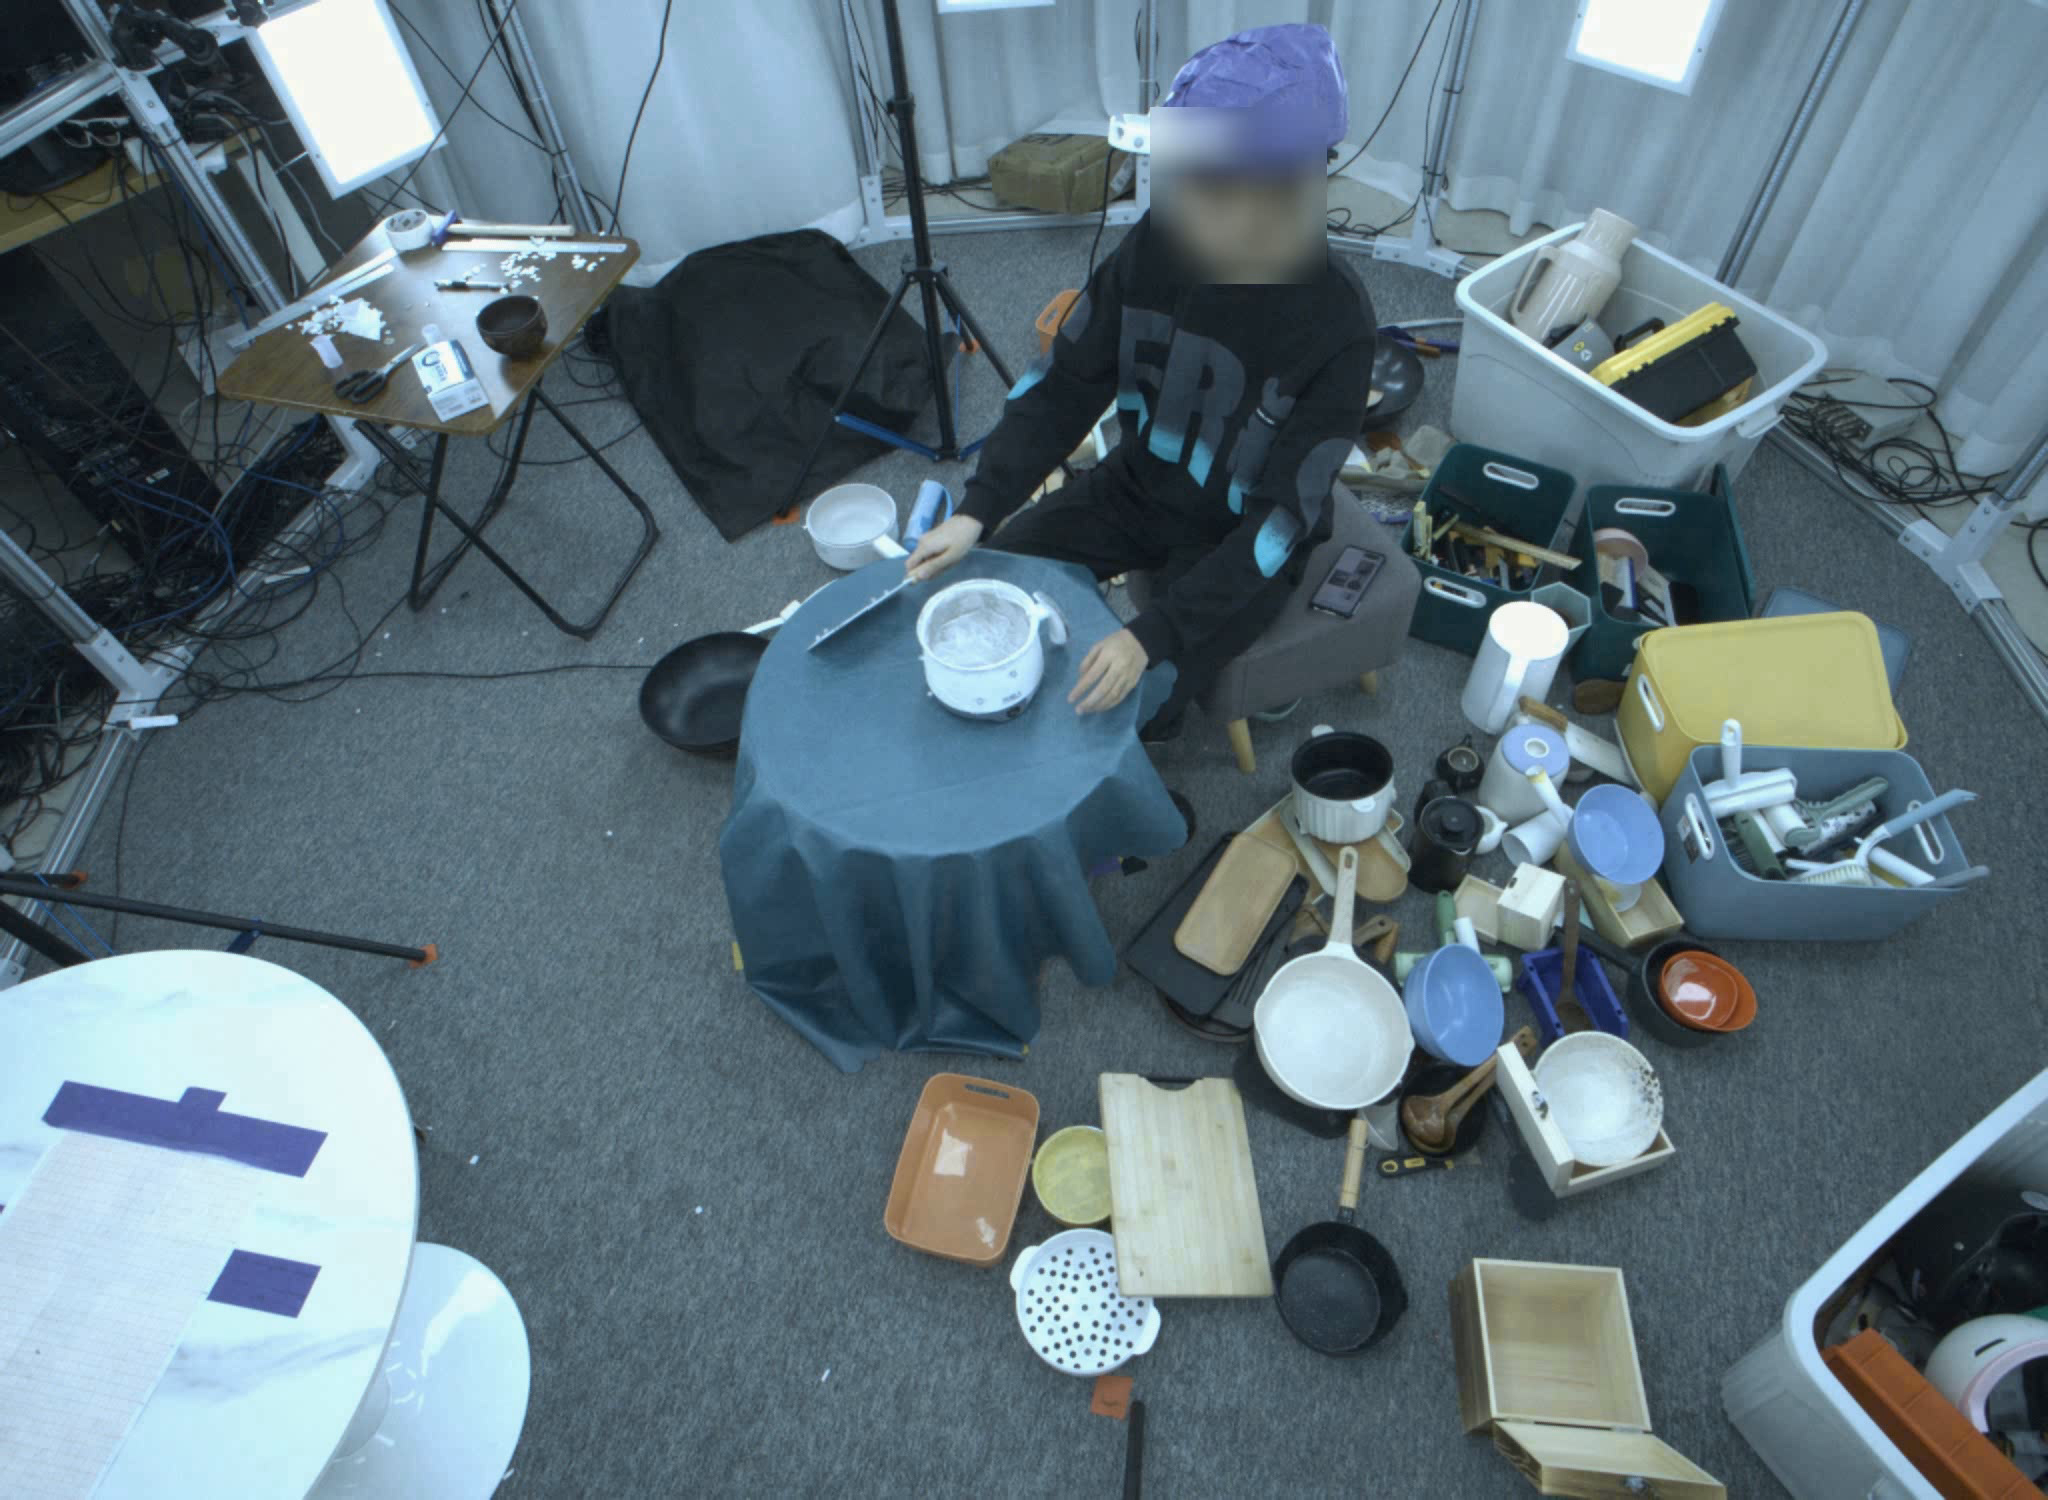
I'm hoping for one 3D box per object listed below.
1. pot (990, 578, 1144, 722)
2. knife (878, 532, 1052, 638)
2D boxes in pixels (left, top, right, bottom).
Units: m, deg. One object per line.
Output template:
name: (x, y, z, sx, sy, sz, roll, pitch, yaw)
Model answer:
pot: (0.068, -0.155, 1.810, 0.235, 0.138, 0.175, -25, 58, -13)
knife: (-0.089, -0.257, 1.919, 0.317, 0.112, 0.022, -33, 99, -16)
